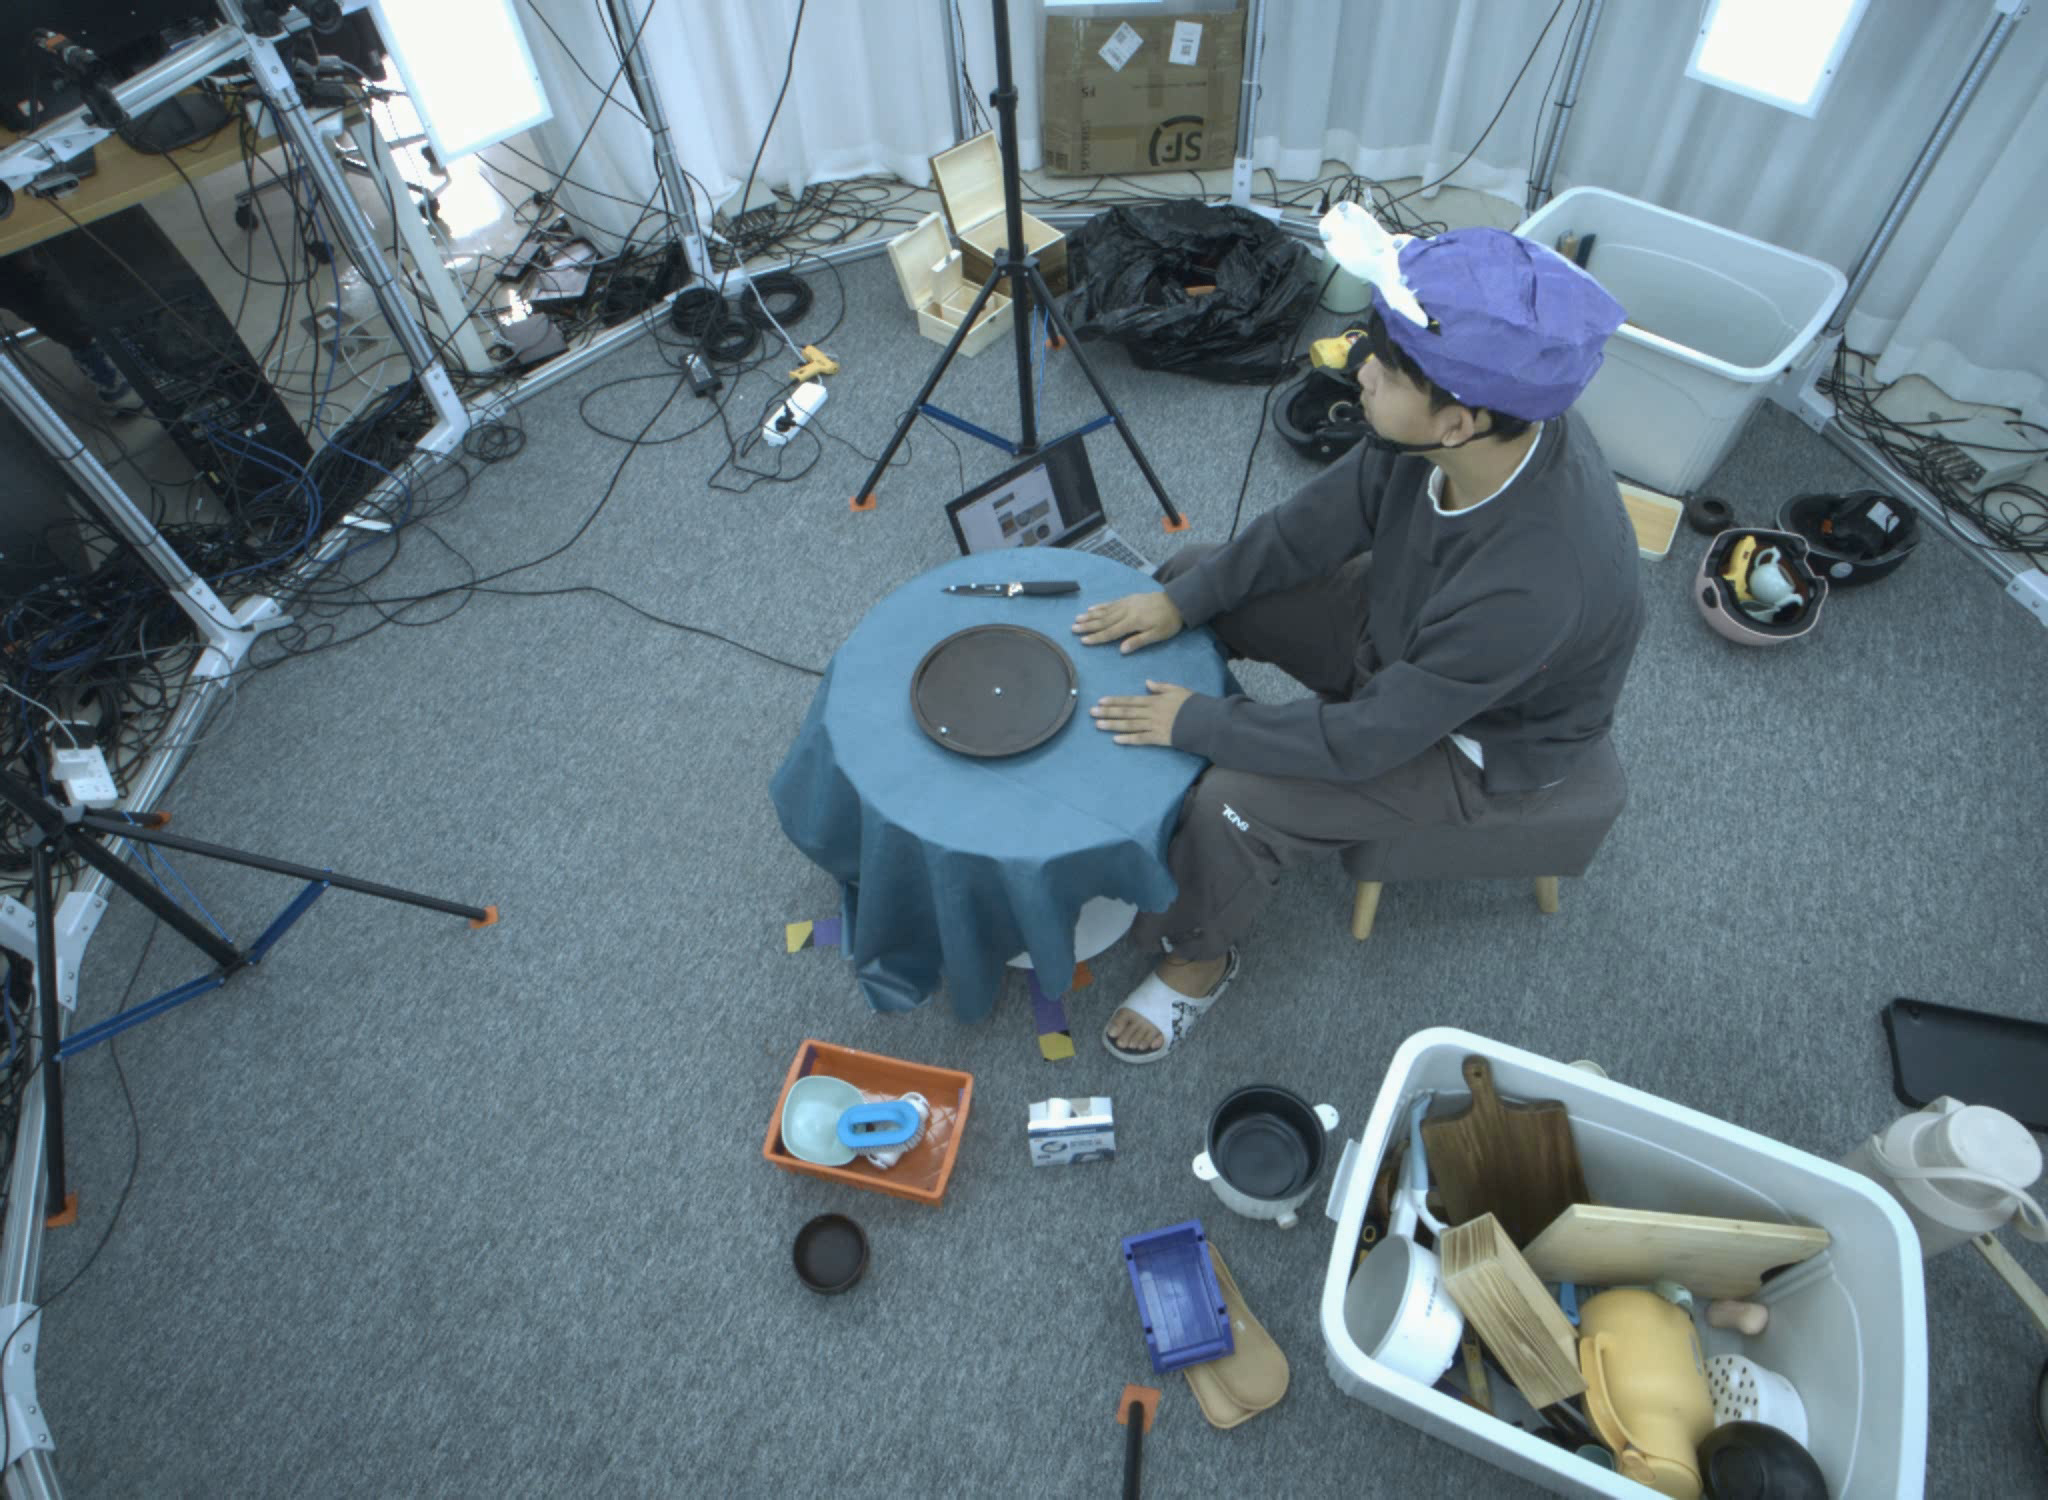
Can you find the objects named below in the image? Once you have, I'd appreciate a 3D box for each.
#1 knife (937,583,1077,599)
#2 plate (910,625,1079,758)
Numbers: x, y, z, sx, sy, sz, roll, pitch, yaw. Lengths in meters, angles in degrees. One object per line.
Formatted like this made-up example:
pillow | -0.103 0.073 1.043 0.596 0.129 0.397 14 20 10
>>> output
knife | -0.028 -0.254 1.961 0.225 0.017 0.026 1 61 3
plate | -0.044 -0.090 1.838 0.255 0.029 0.252 1 54 0
